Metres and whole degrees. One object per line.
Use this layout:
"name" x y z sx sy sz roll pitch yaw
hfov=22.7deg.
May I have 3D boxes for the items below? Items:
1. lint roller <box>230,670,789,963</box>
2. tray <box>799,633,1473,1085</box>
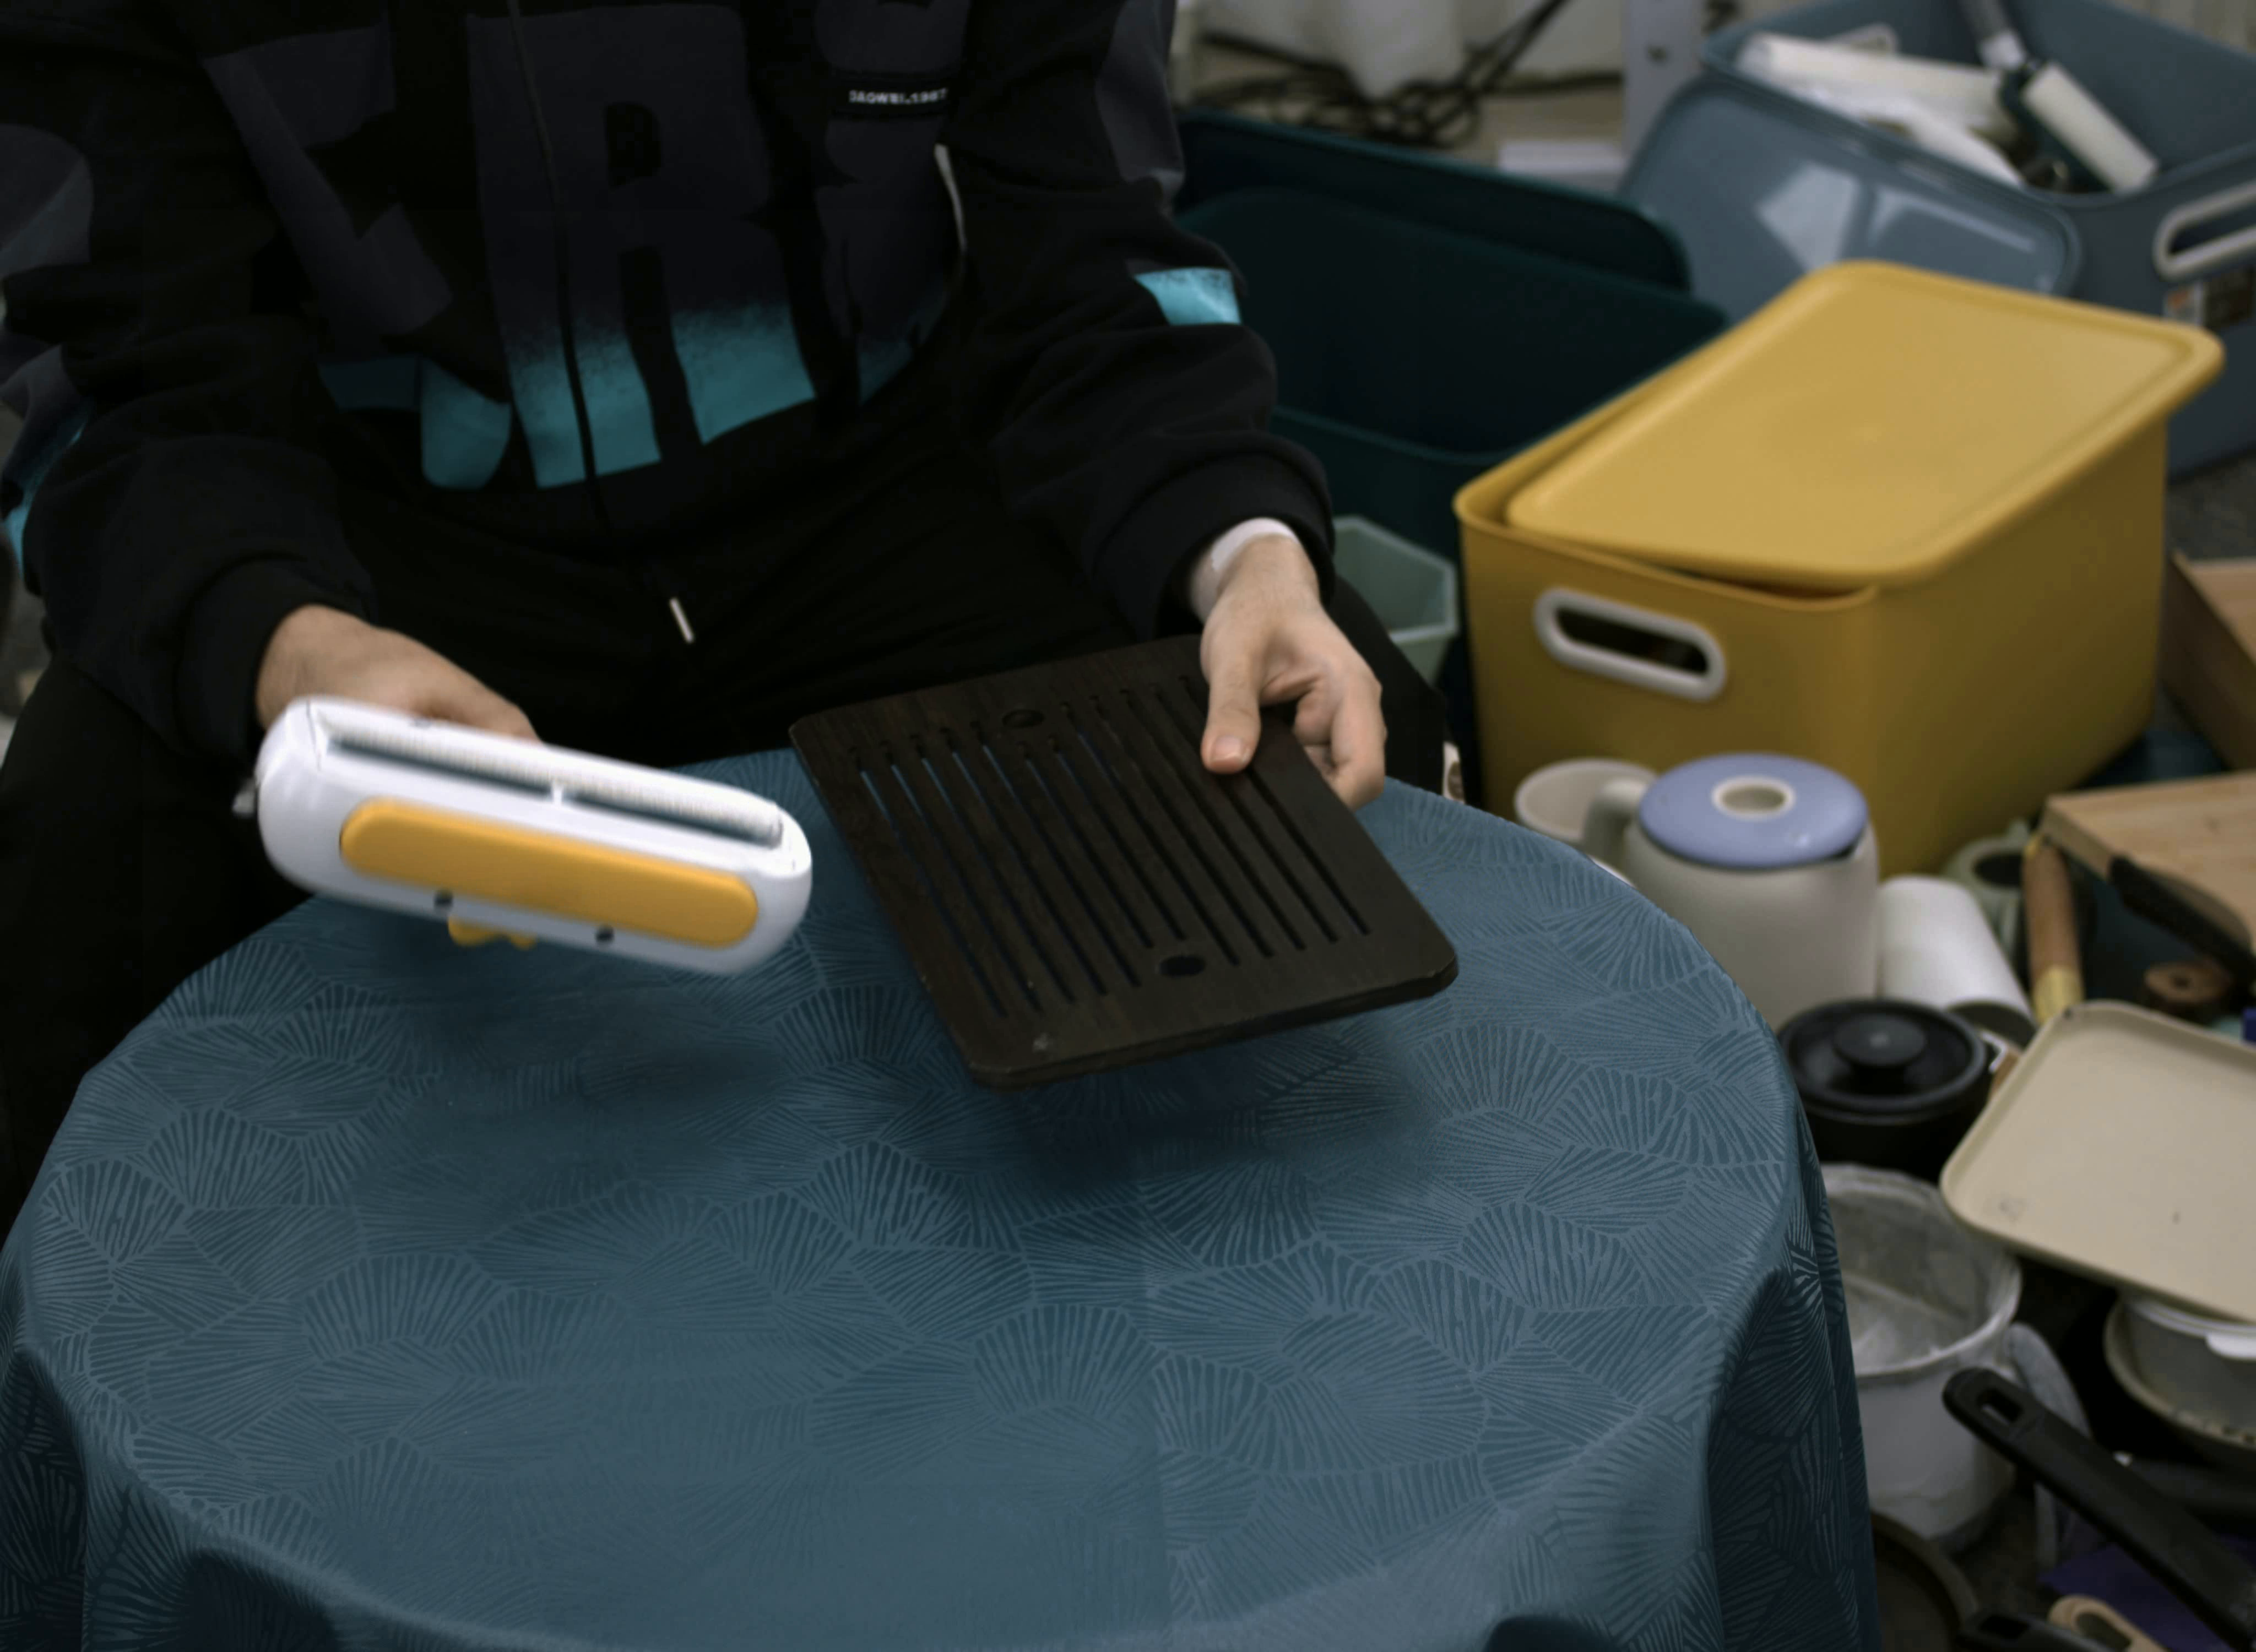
"lint roller" -0.222 -0.015 1.946 0.192 0.074 0.194 11 15 -18
"tray" -0.003 0.008 1.979 0.170 0.018 0.308 -12 26 -12
